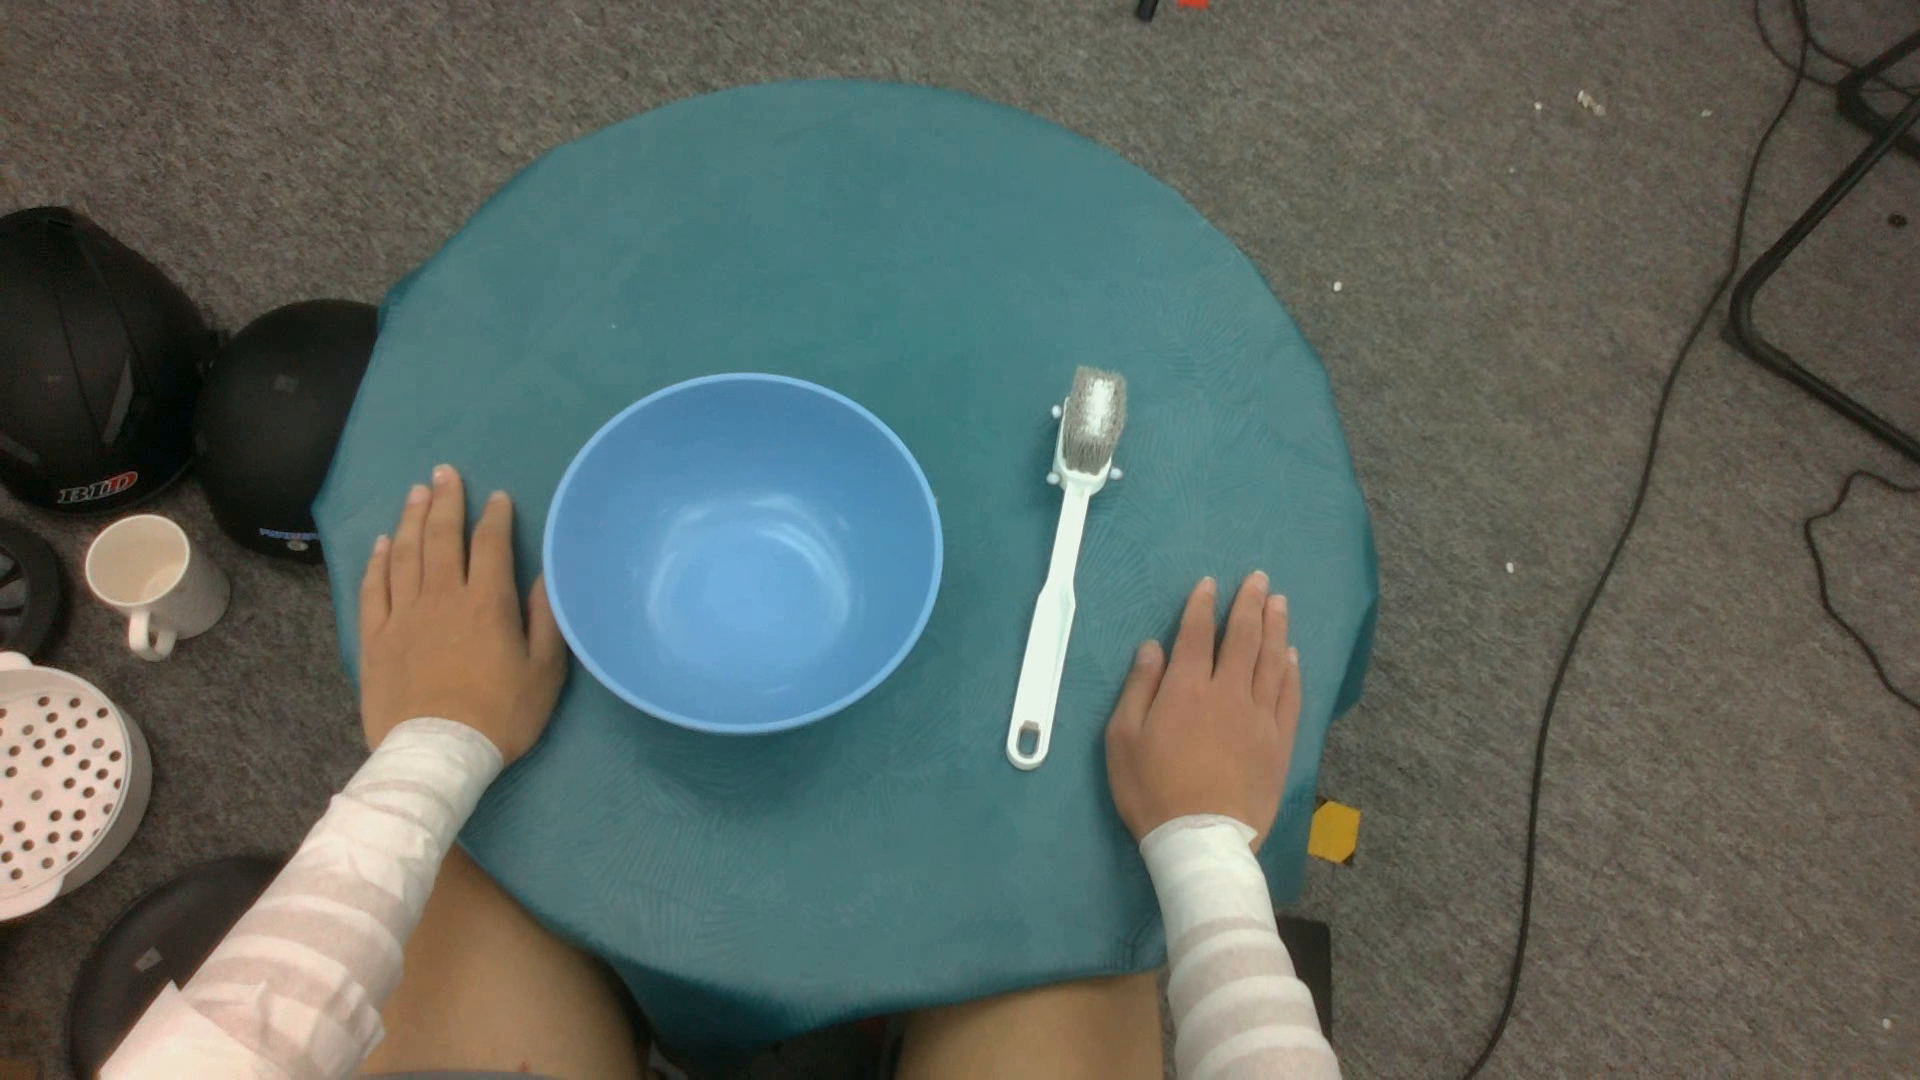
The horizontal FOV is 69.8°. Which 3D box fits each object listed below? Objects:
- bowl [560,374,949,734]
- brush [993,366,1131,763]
[{"bbox_3d":[-0.108,0.019,0.743,0.196,0.095,0.197,3,67,-7],"label":"bowl"},{"bbox_3d":[0.060,0.008,0.792,0.034,0.050,0.244,17,66,-3],"label":"brush"}]
